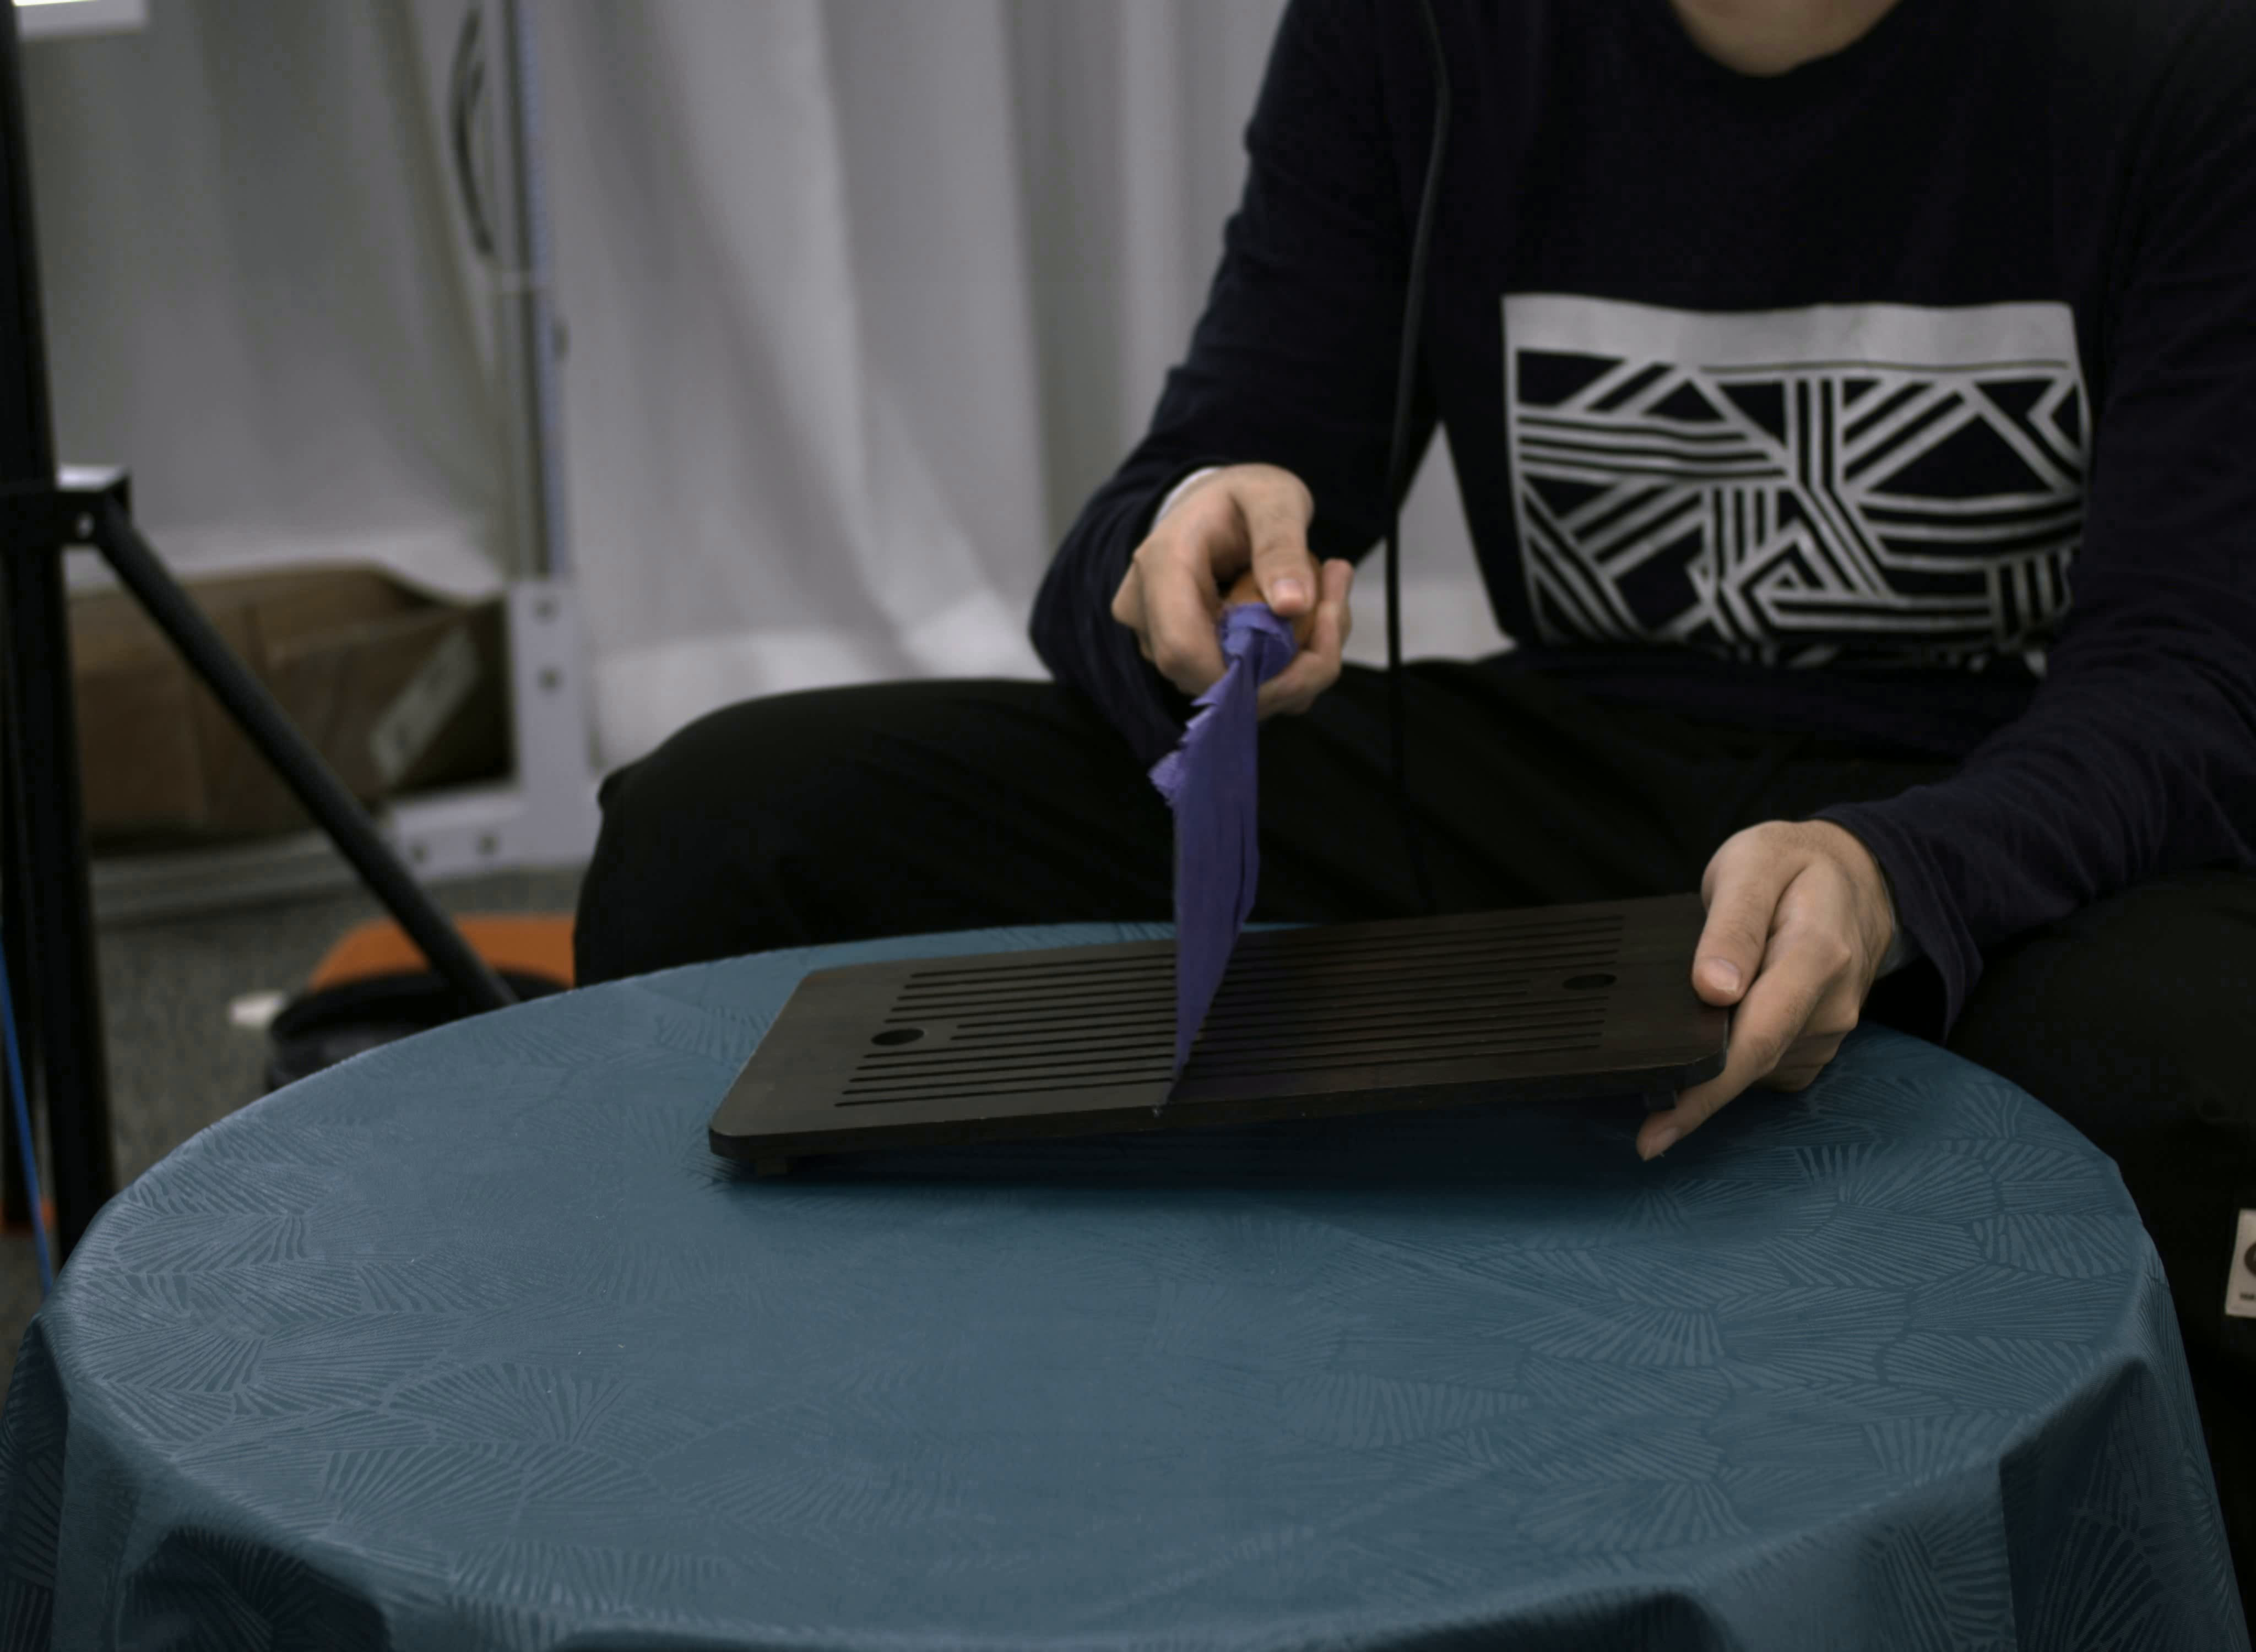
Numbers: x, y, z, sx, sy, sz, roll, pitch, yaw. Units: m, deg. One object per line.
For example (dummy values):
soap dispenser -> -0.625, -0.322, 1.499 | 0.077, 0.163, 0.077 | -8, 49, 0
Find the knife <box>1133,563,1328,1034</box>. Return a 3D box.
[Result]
knife -> 0.031, -0.011, 1.700 | 0.032, 0.104, 0.314 | 4, 14, 9

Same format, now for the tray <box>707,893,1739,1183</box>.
tray -> 0.034, 0.065, 1.627 | 0.307, 0.018, 0.169 | -5, 15, 11
